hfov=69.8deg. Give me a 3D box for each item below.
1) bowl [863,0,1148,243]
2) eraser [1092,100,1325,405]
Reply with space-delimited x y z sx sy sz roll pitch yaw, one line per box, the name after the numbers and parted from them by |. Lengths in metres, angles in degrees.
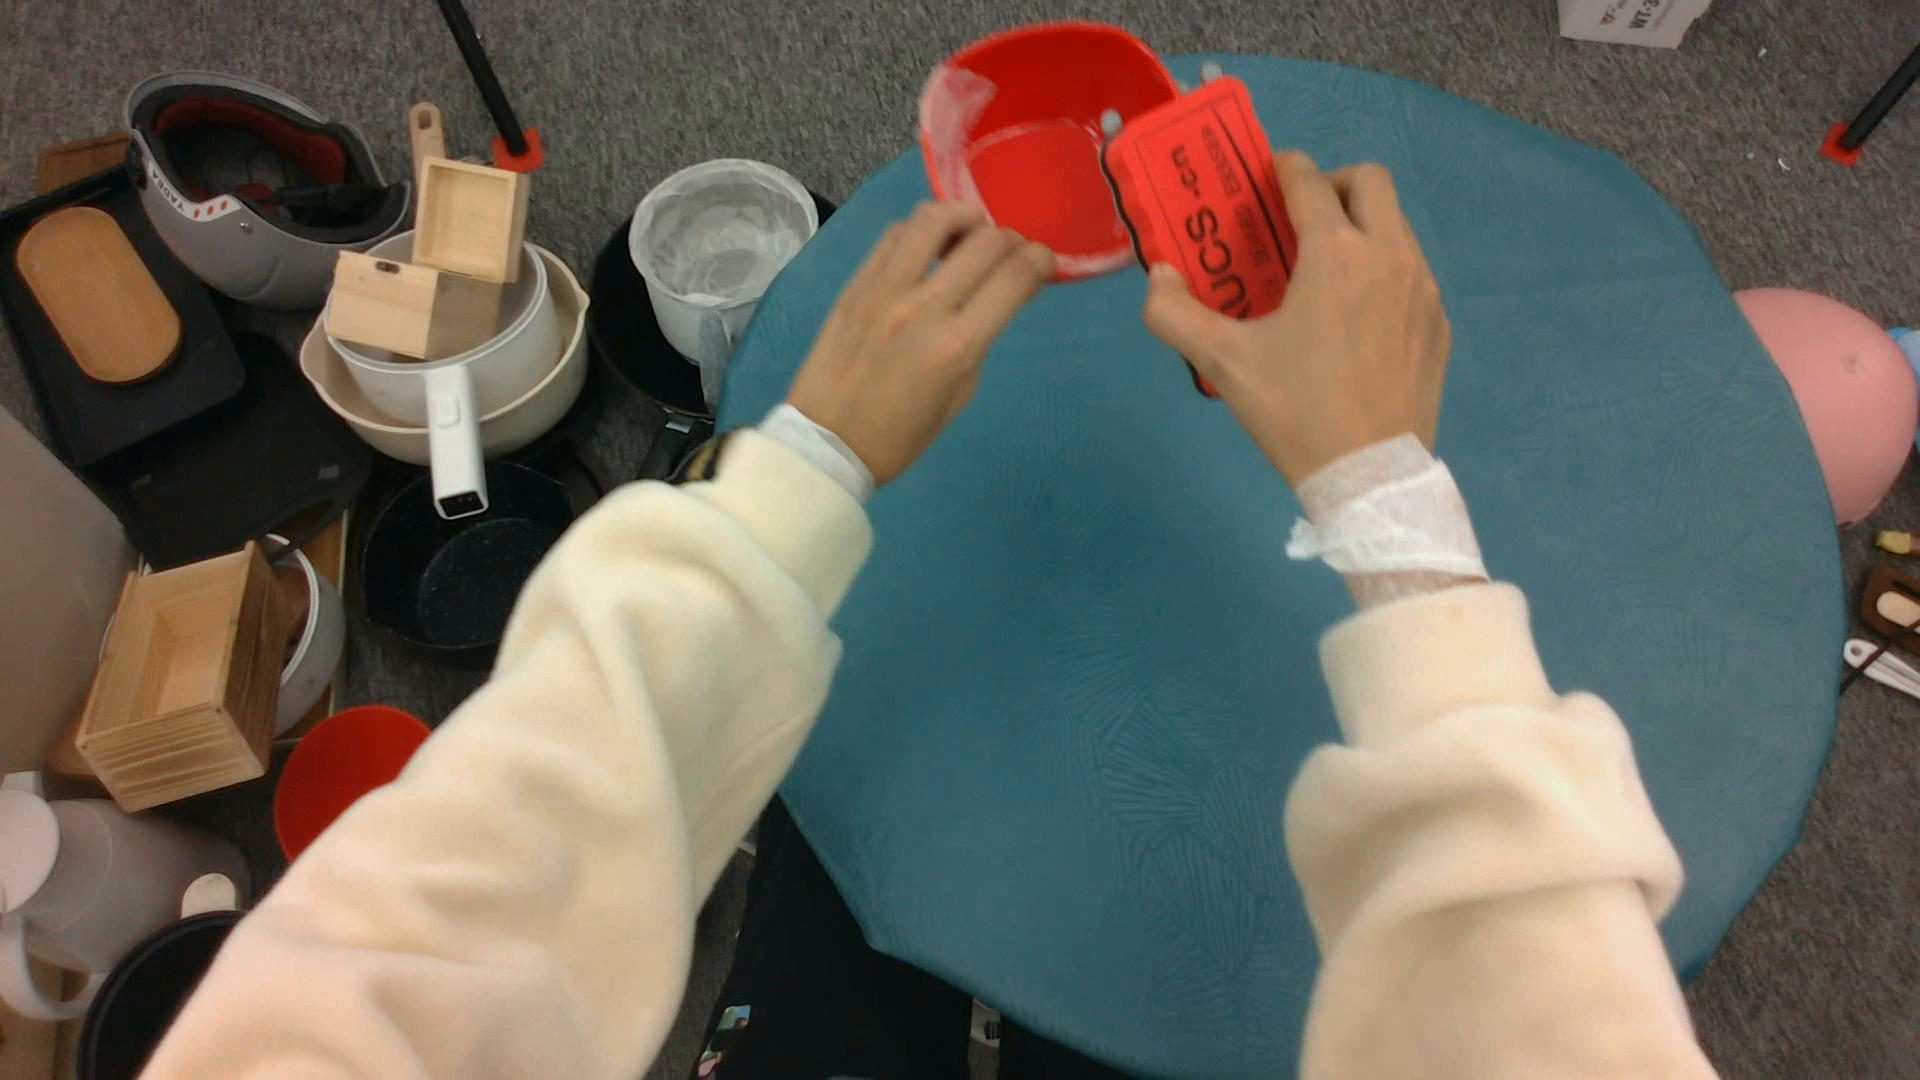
0.015 -0.170 0.568 0.119 0.051 0.119 2 79 -9 | bowl
0.097 -0.111 0.535 0.059 0.023 0.108 -29 100 -17 | eraser
